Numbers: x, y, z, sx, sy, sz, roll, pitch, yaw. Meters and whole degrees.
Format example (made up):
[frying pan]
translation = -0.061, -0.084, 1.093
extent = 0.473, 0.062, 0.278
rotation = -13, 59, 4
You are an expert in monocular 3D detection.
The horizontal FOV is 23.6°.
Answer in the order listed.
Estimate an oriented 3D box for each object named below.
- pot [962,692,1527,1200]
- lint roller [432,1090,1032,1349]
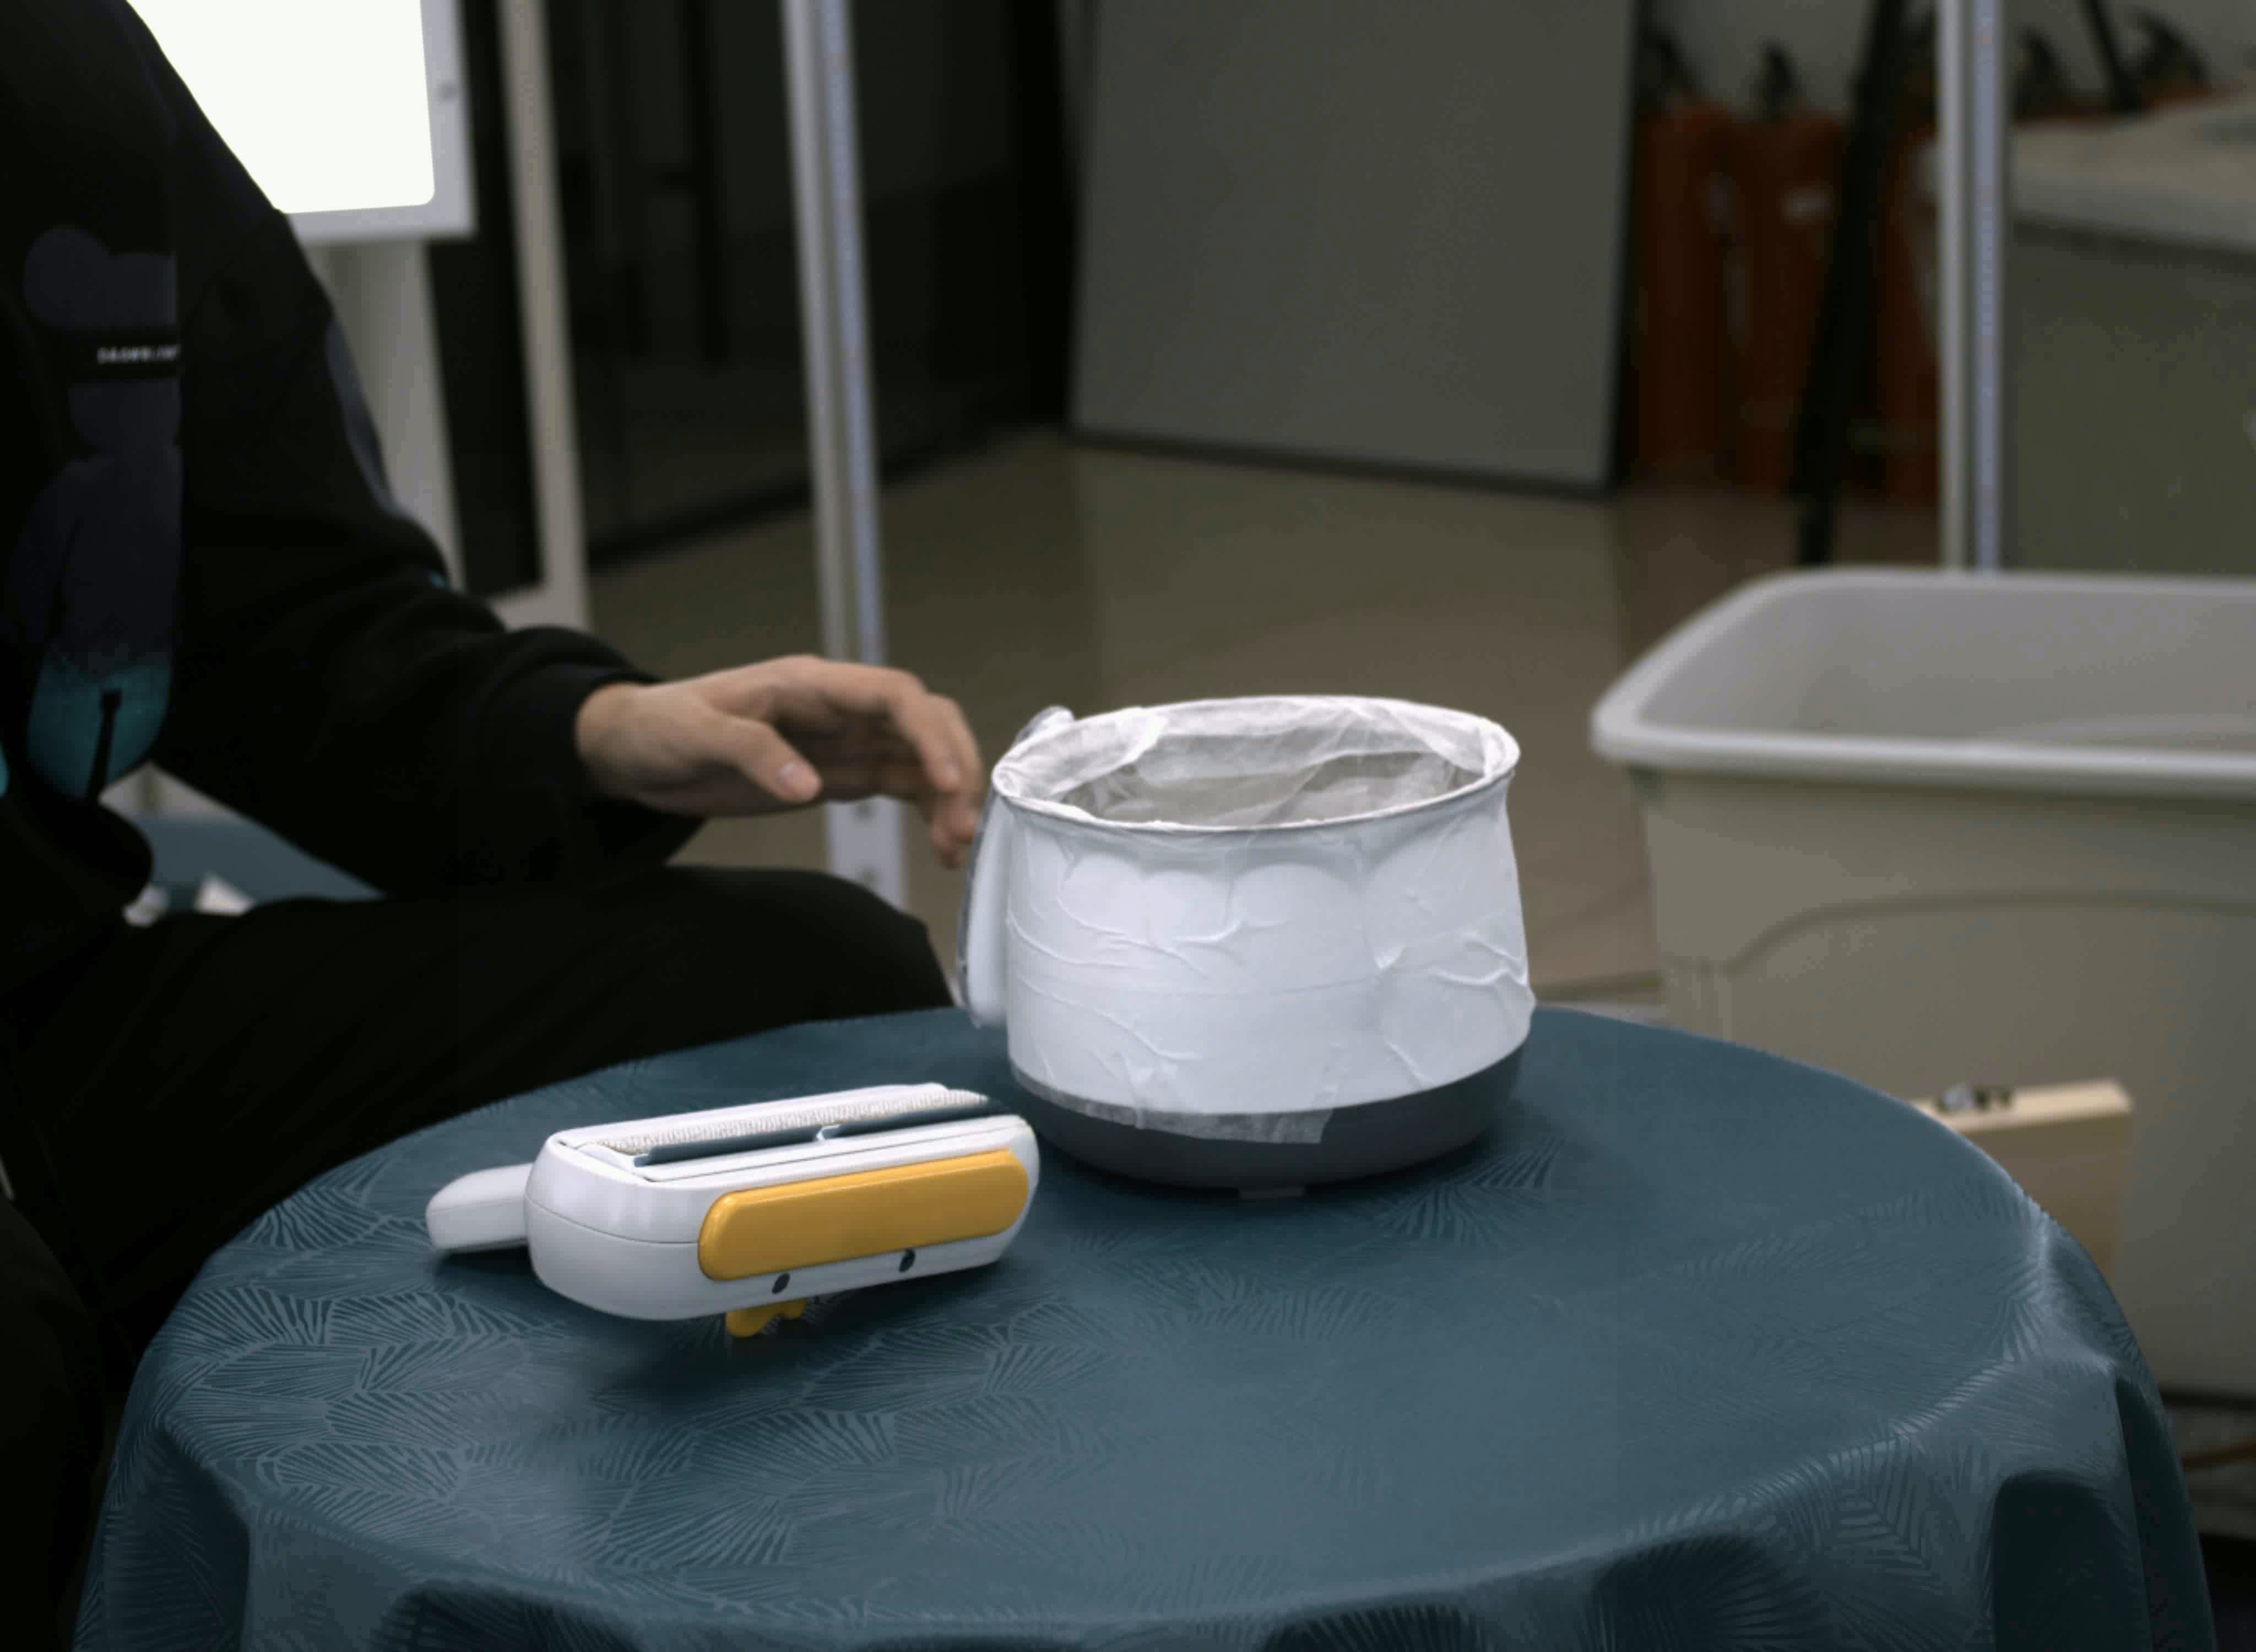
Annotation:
[pot]
translation = 0.027, 0.034, 1.823
extent = 0.175, 0.138, 0.236
rotation = -14, 18, -41
[lint roller]
translation = -0.150, 0.116, 1.693
extent = 0.194, 0.075, 0.189
rotation = 7, 13, 44
